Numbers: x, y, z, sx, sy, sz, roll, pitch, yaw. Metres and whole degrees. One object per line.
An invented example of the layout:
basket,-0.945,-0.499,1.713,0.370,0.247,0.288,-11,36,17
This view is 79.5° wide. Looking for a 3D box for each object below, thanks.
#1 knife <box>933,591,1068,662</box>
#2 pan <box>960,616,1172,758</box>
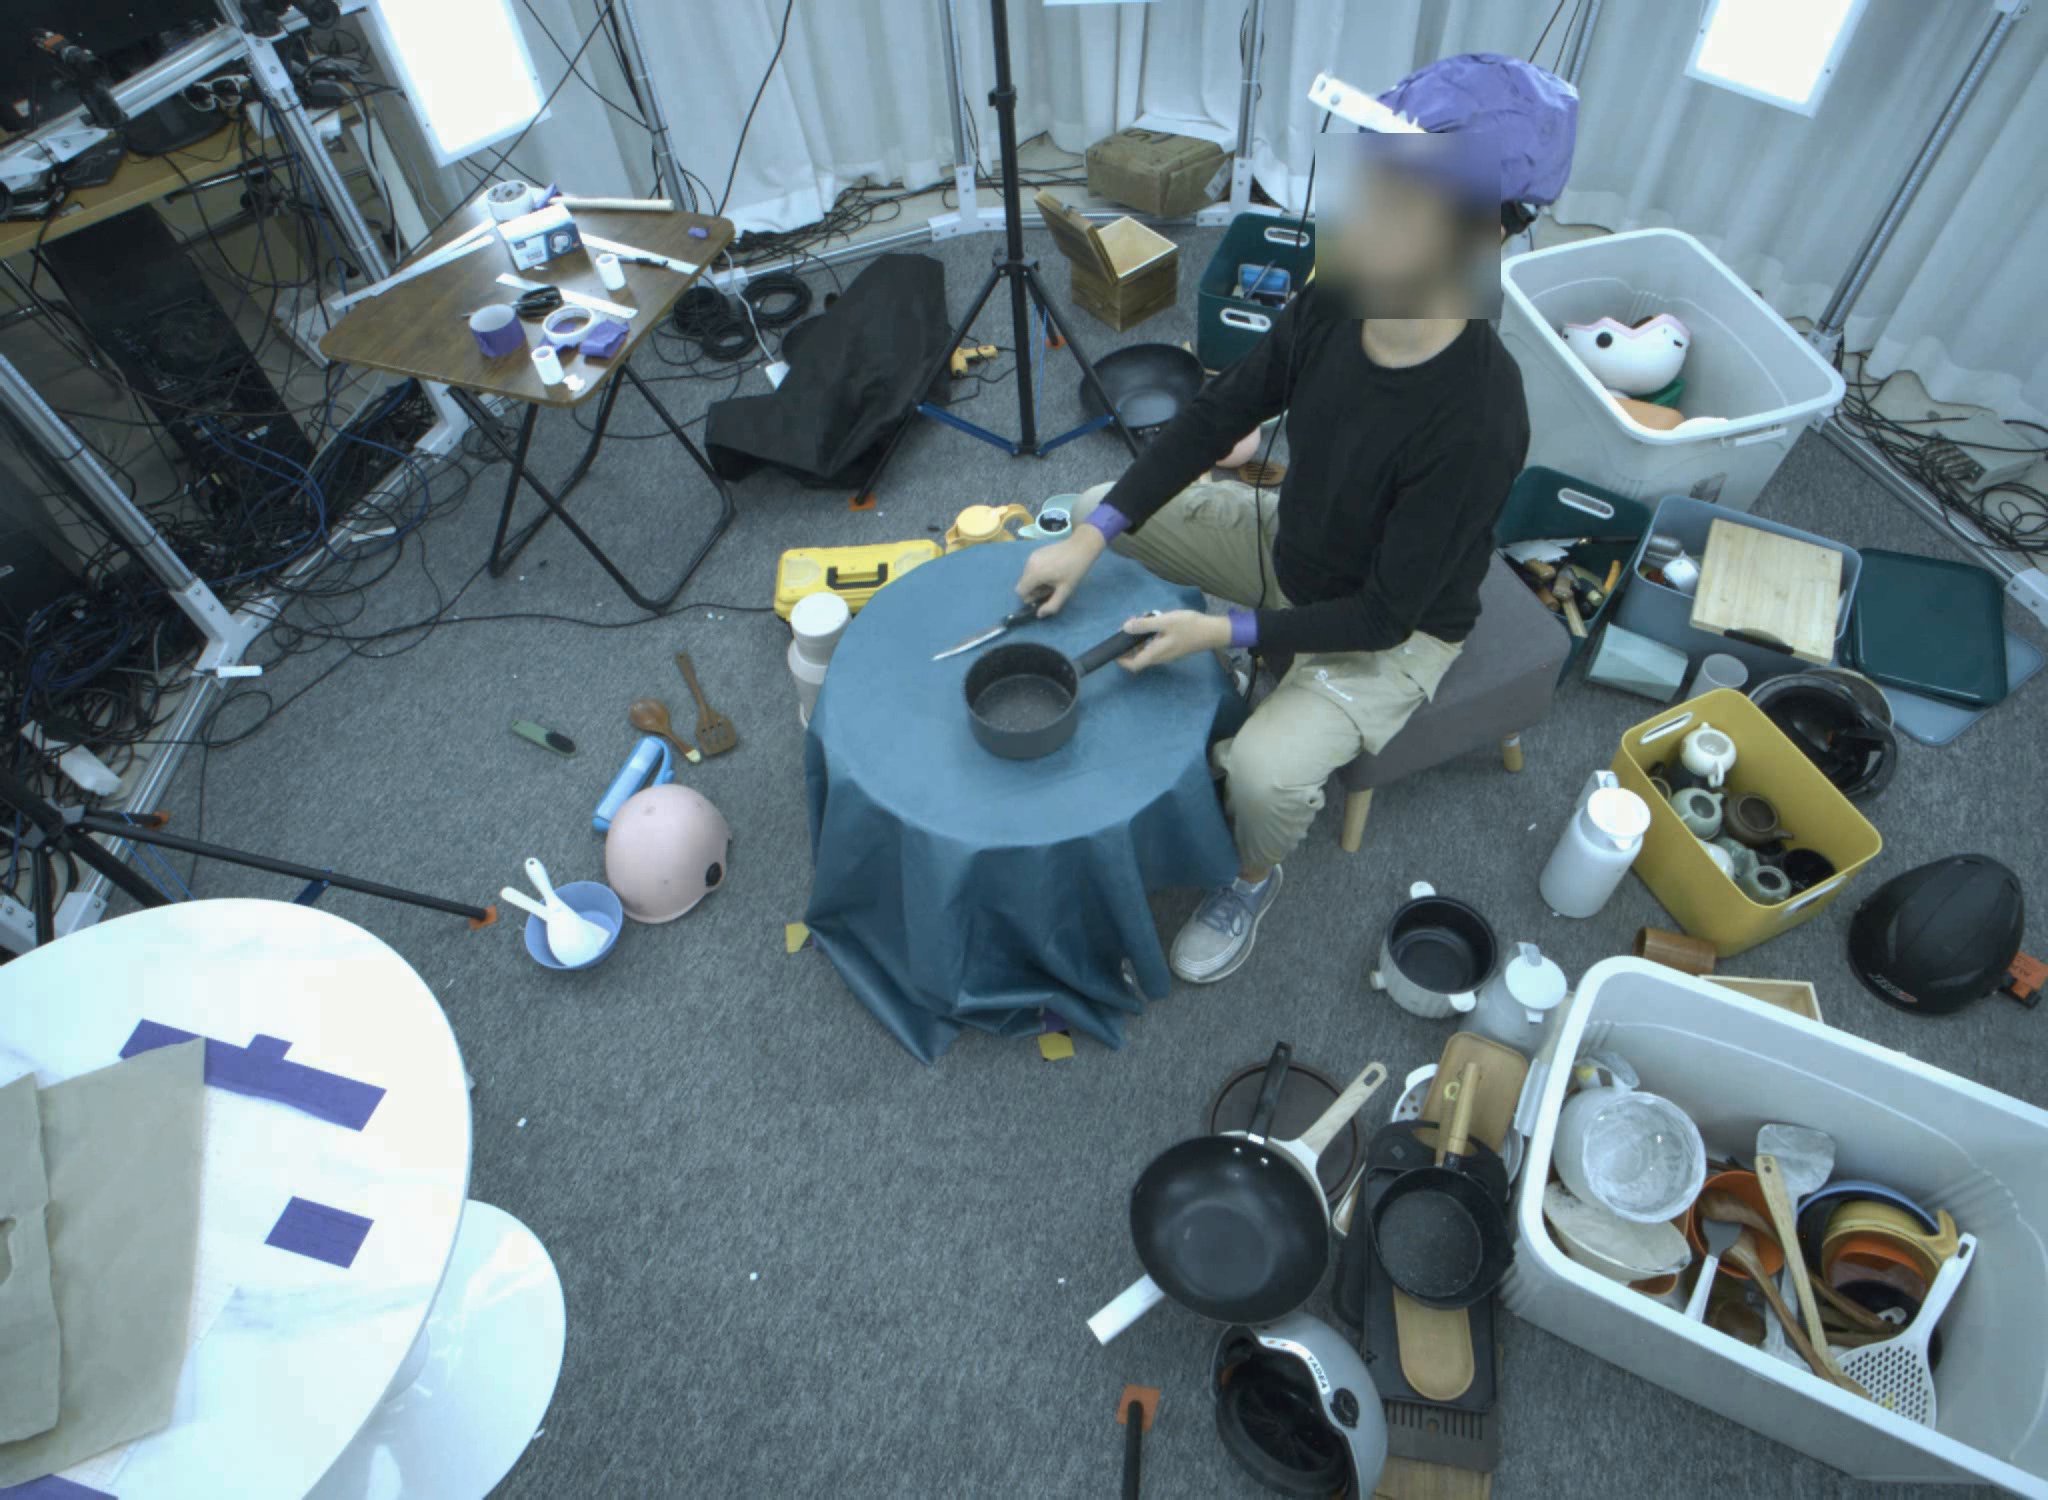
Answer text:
knife,-0.039,-0.192,1.911,0.239,0.016,0.024,-28,59,-12
pan,0.067,-0.105,1.804,0.331,0.087,0.169,-23,57,-13
